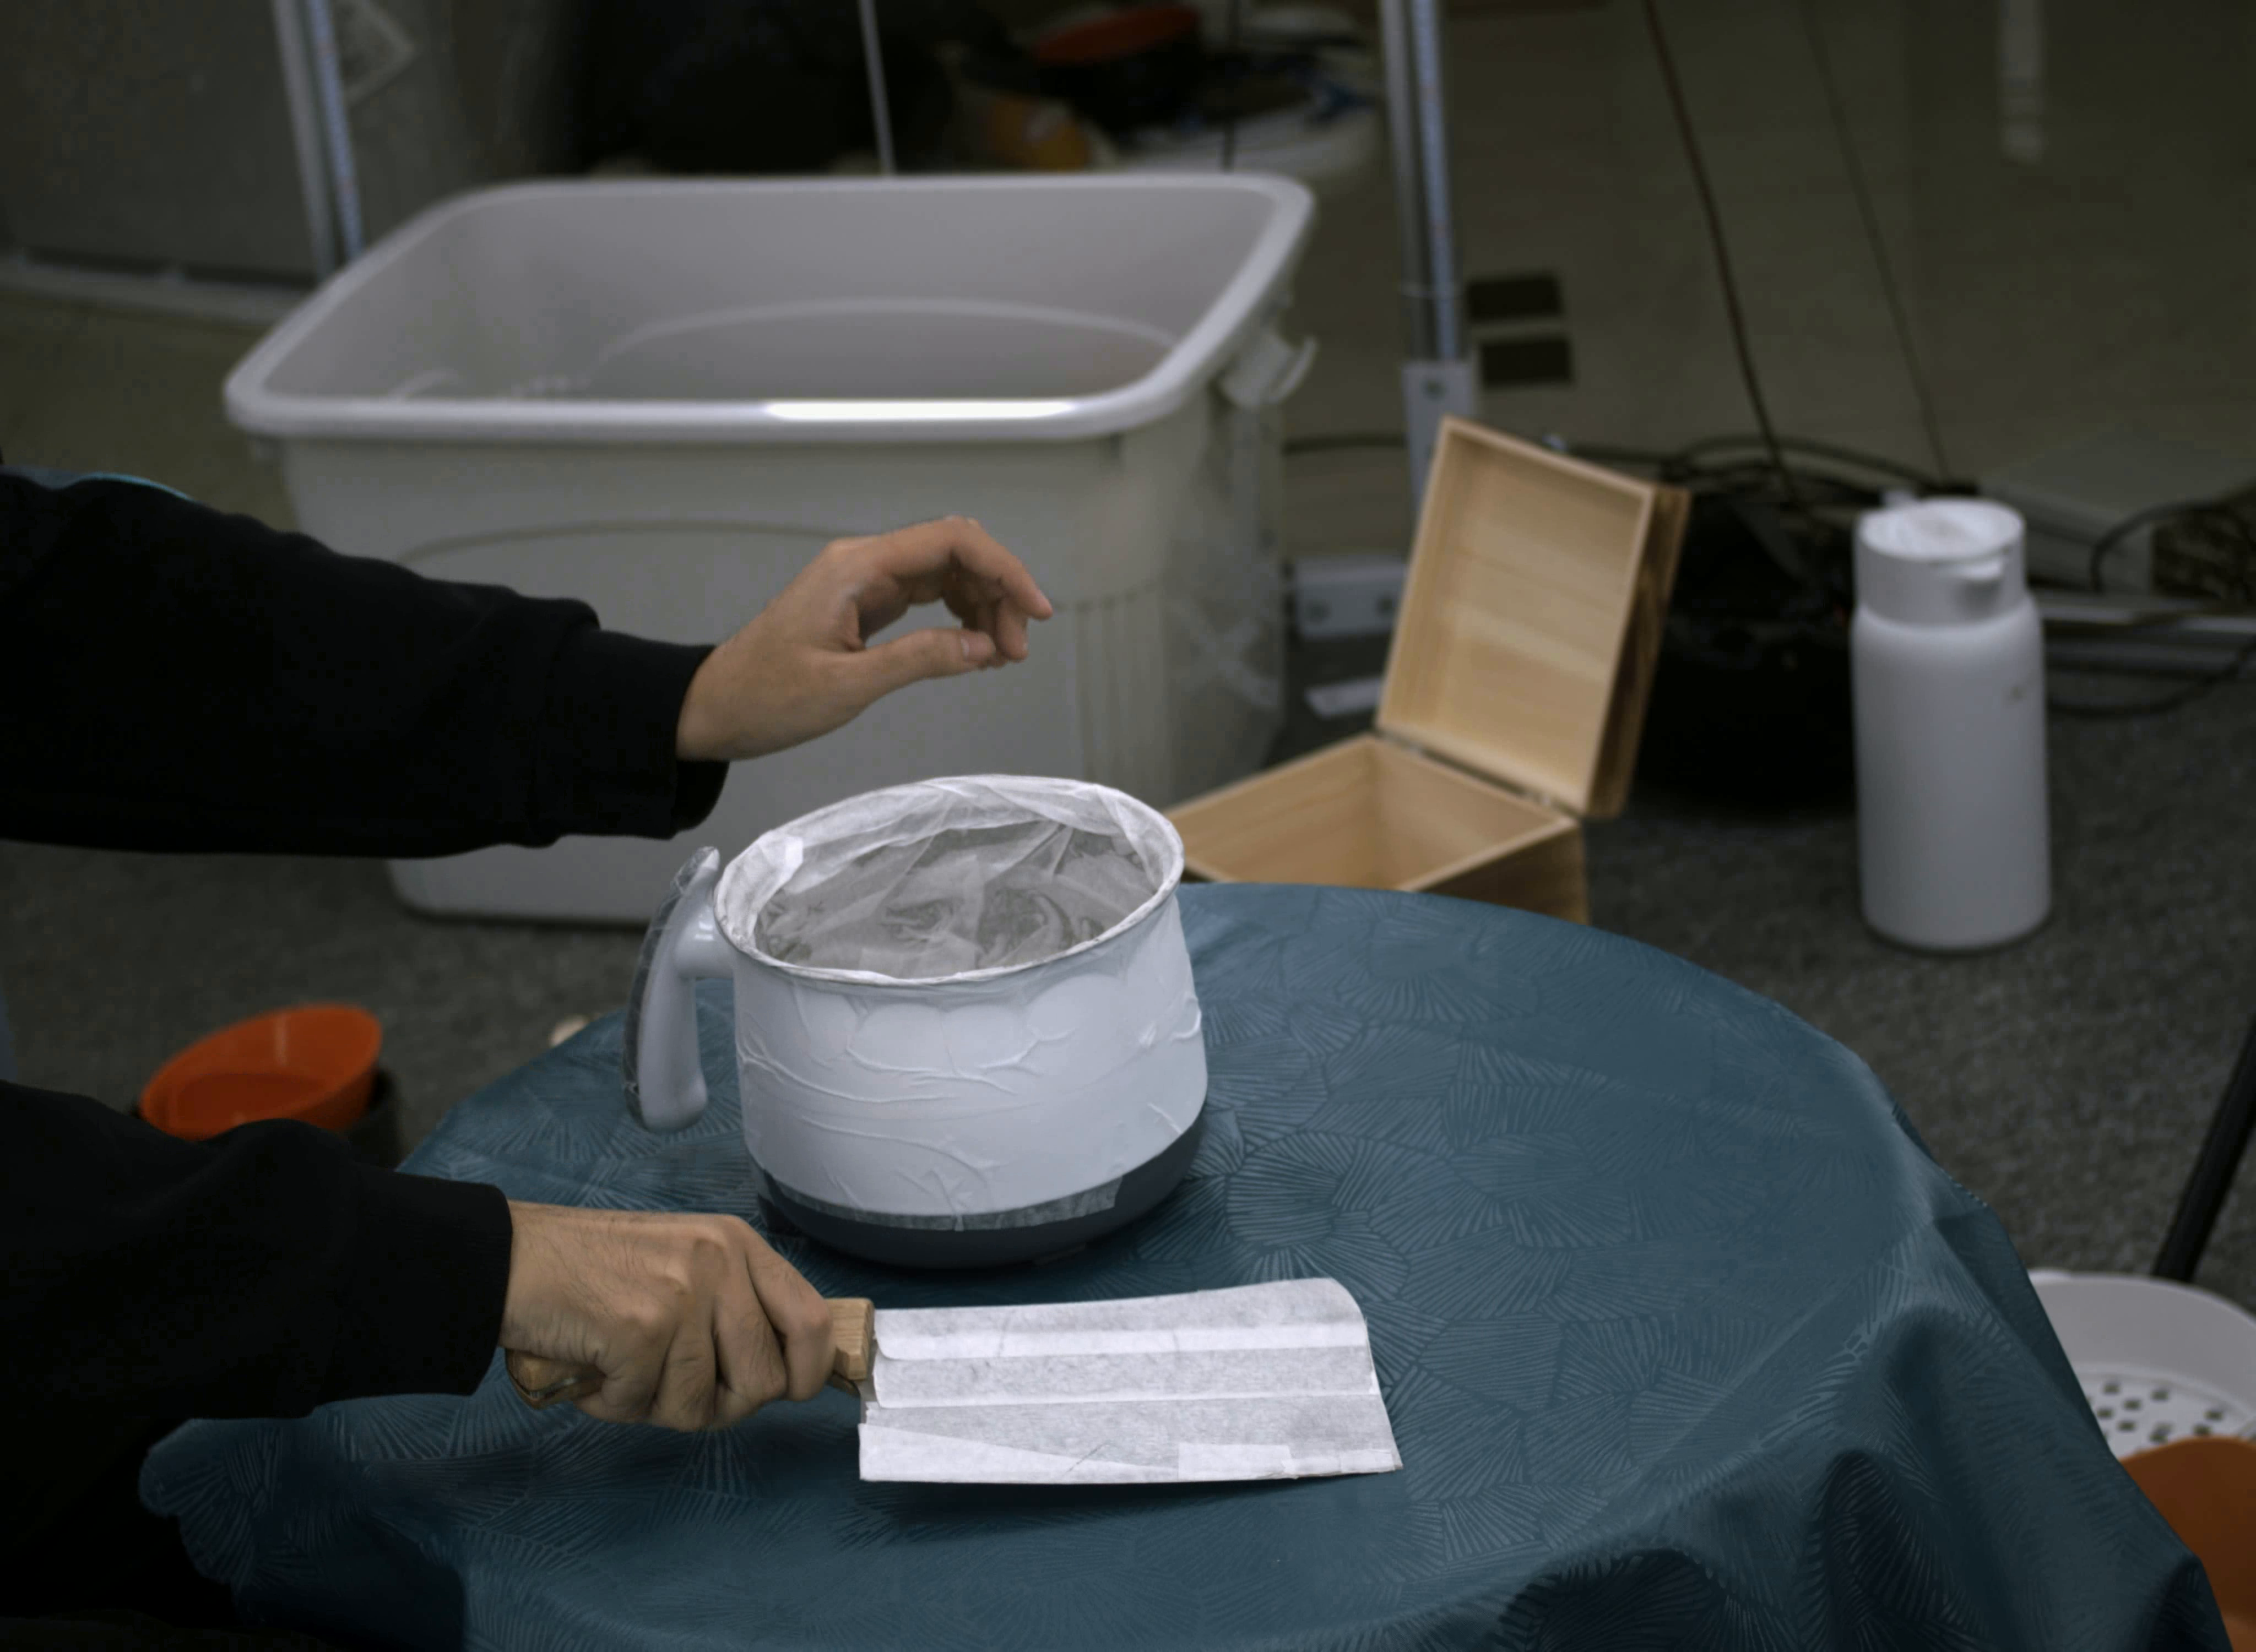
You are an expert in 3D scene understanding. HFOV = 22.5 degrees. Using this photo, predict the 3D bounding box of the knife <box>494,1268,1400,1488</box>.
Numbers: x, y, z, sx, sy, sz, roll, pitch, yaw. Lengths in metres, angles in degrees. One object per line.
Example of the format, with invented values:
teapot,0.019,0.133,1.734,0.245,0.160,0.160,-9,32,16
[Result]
knife,-0.064,0.191,1.980,0.315,0.022,0.112,1,38,-1

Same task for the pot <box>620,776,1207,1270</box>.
pot,-0.087,0.074,2.142,0.233,0.139,0.176,4,27,19
